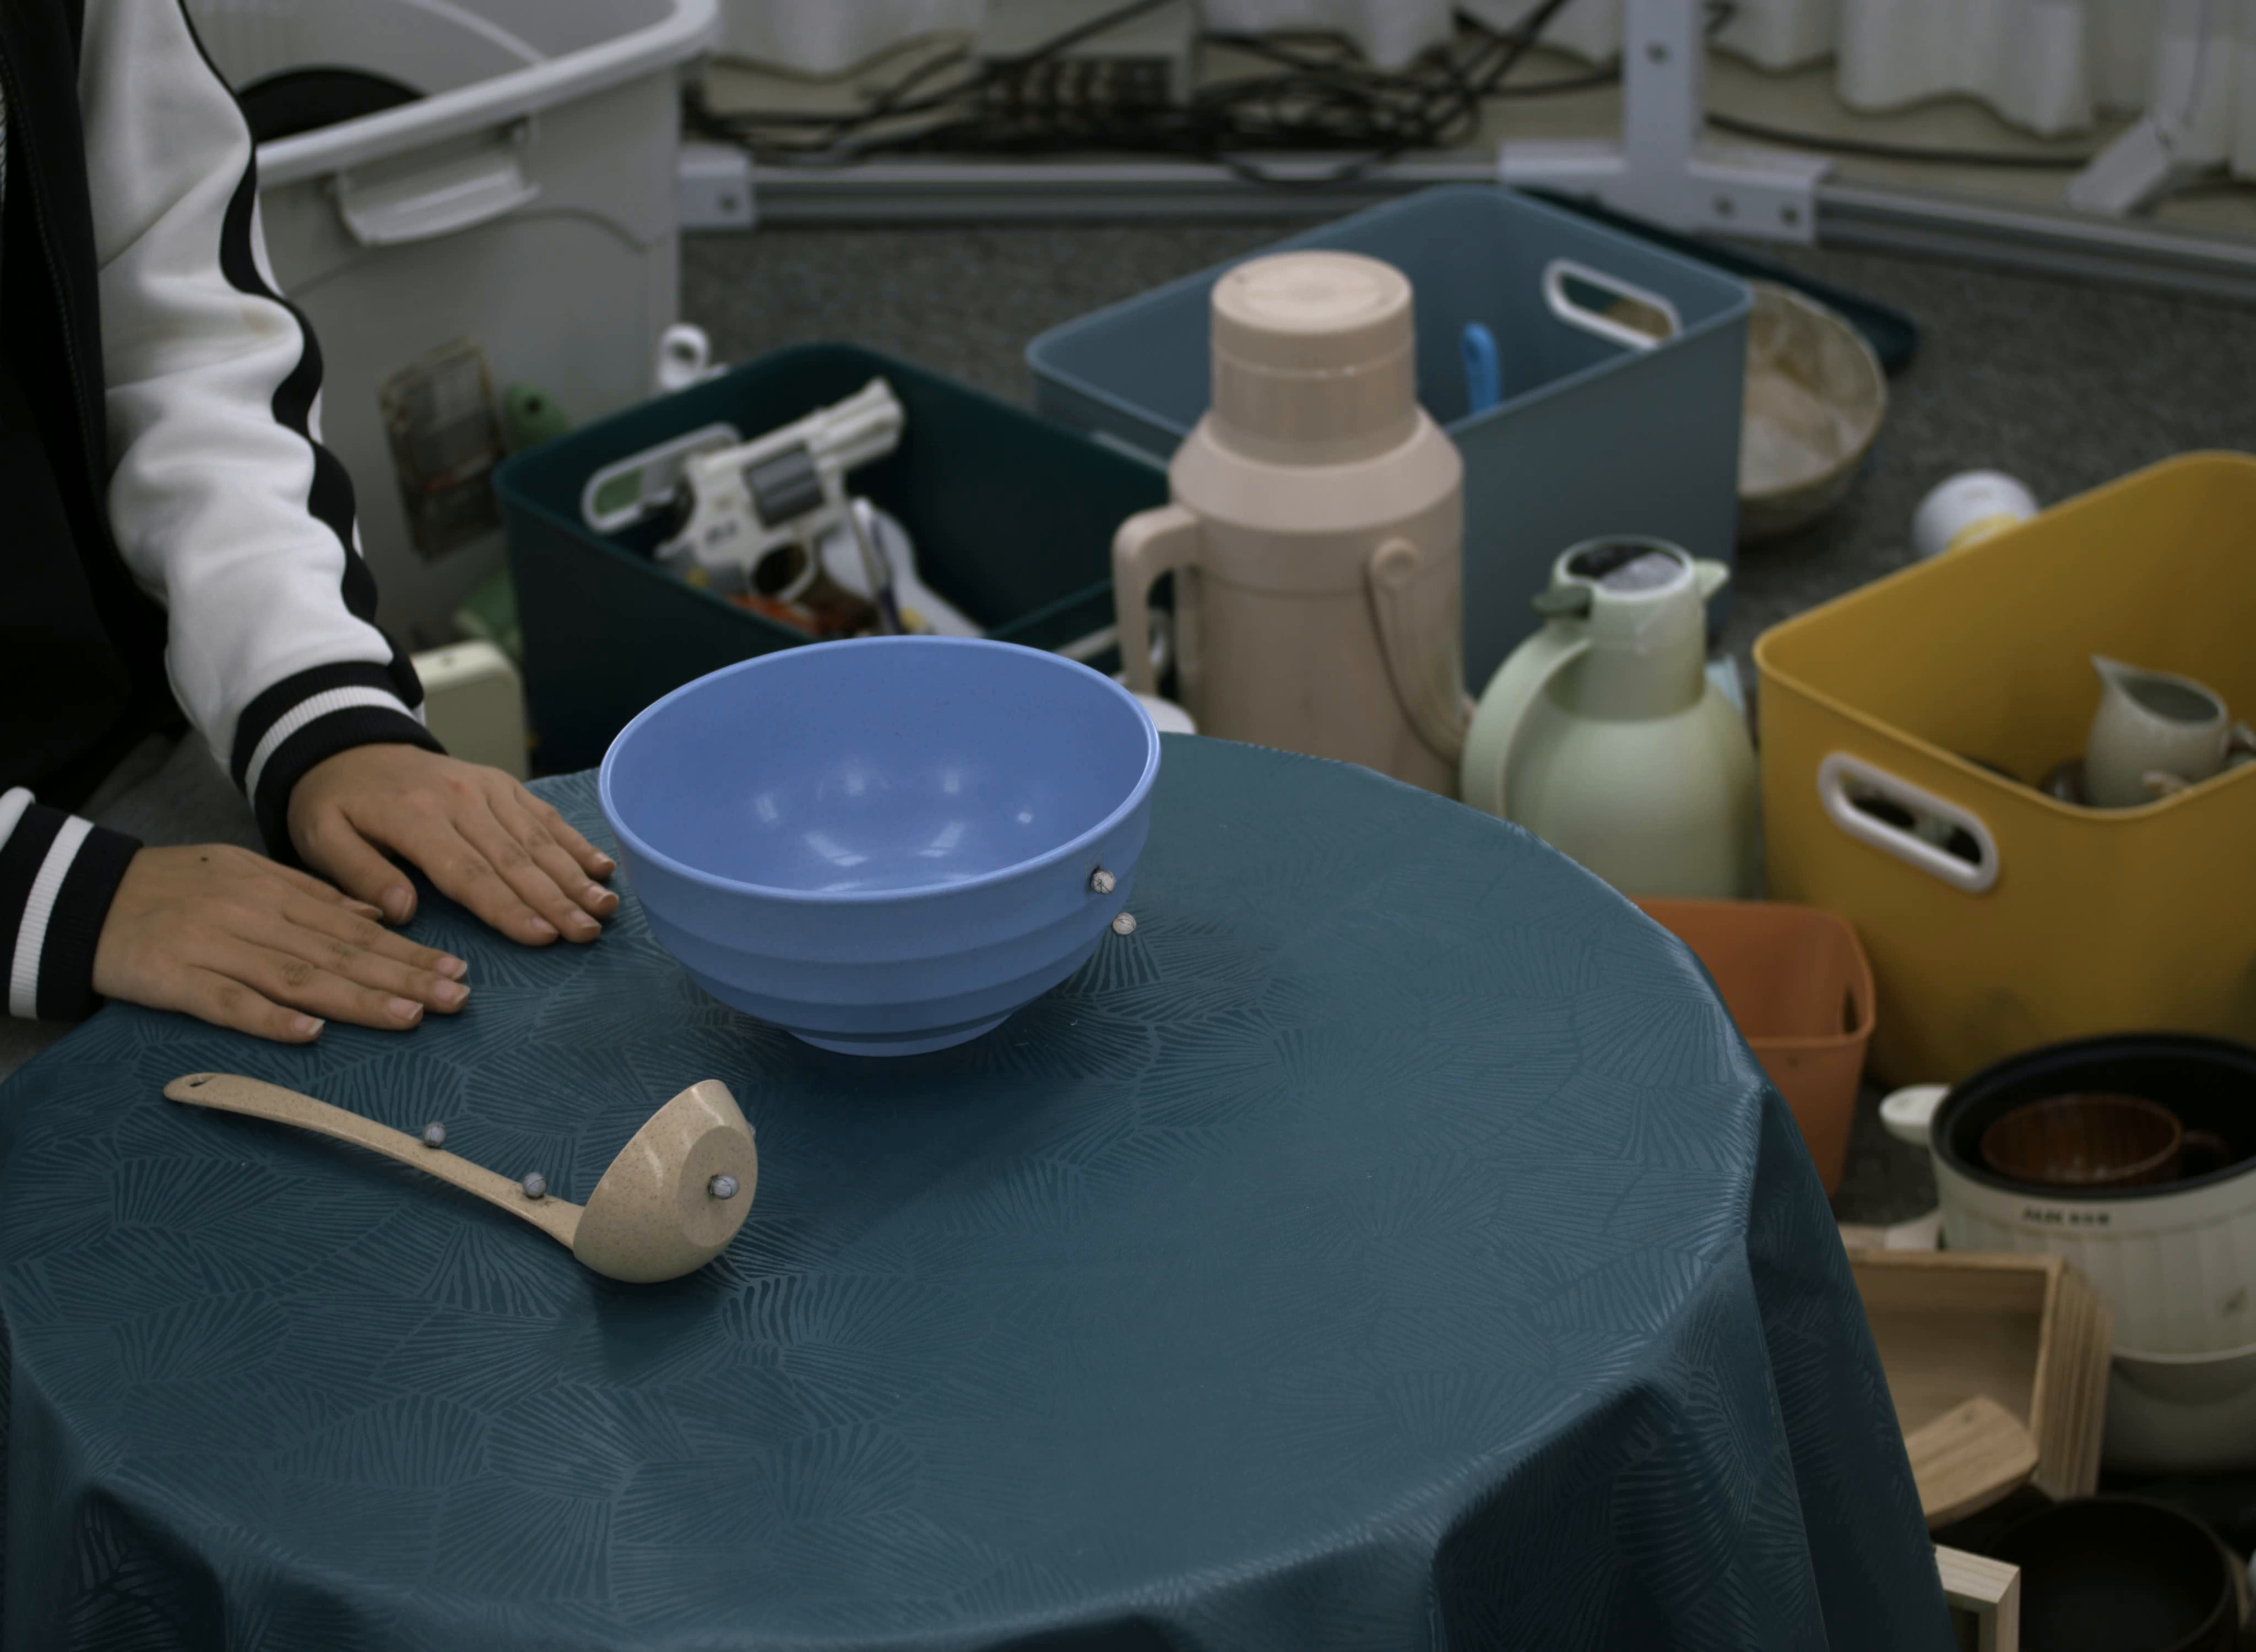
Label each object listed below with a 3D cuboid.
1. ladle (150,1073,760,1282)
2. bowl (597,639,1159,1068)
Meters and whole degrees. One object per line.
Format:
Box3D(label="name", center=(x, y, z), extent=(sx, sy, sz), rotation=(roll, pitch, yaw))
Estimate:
Box3D(label="ladle", center=(-0.233, 0.091, 1.865), extent=(0.253, 0.072, 0.073), rotation=(15, 31, 31))
Box3D(label="bowl", center=(-0.083, 0.021, 1.970), extent=(0.195, 0.094, 0.199), rotation=(-4, 28, 2))
